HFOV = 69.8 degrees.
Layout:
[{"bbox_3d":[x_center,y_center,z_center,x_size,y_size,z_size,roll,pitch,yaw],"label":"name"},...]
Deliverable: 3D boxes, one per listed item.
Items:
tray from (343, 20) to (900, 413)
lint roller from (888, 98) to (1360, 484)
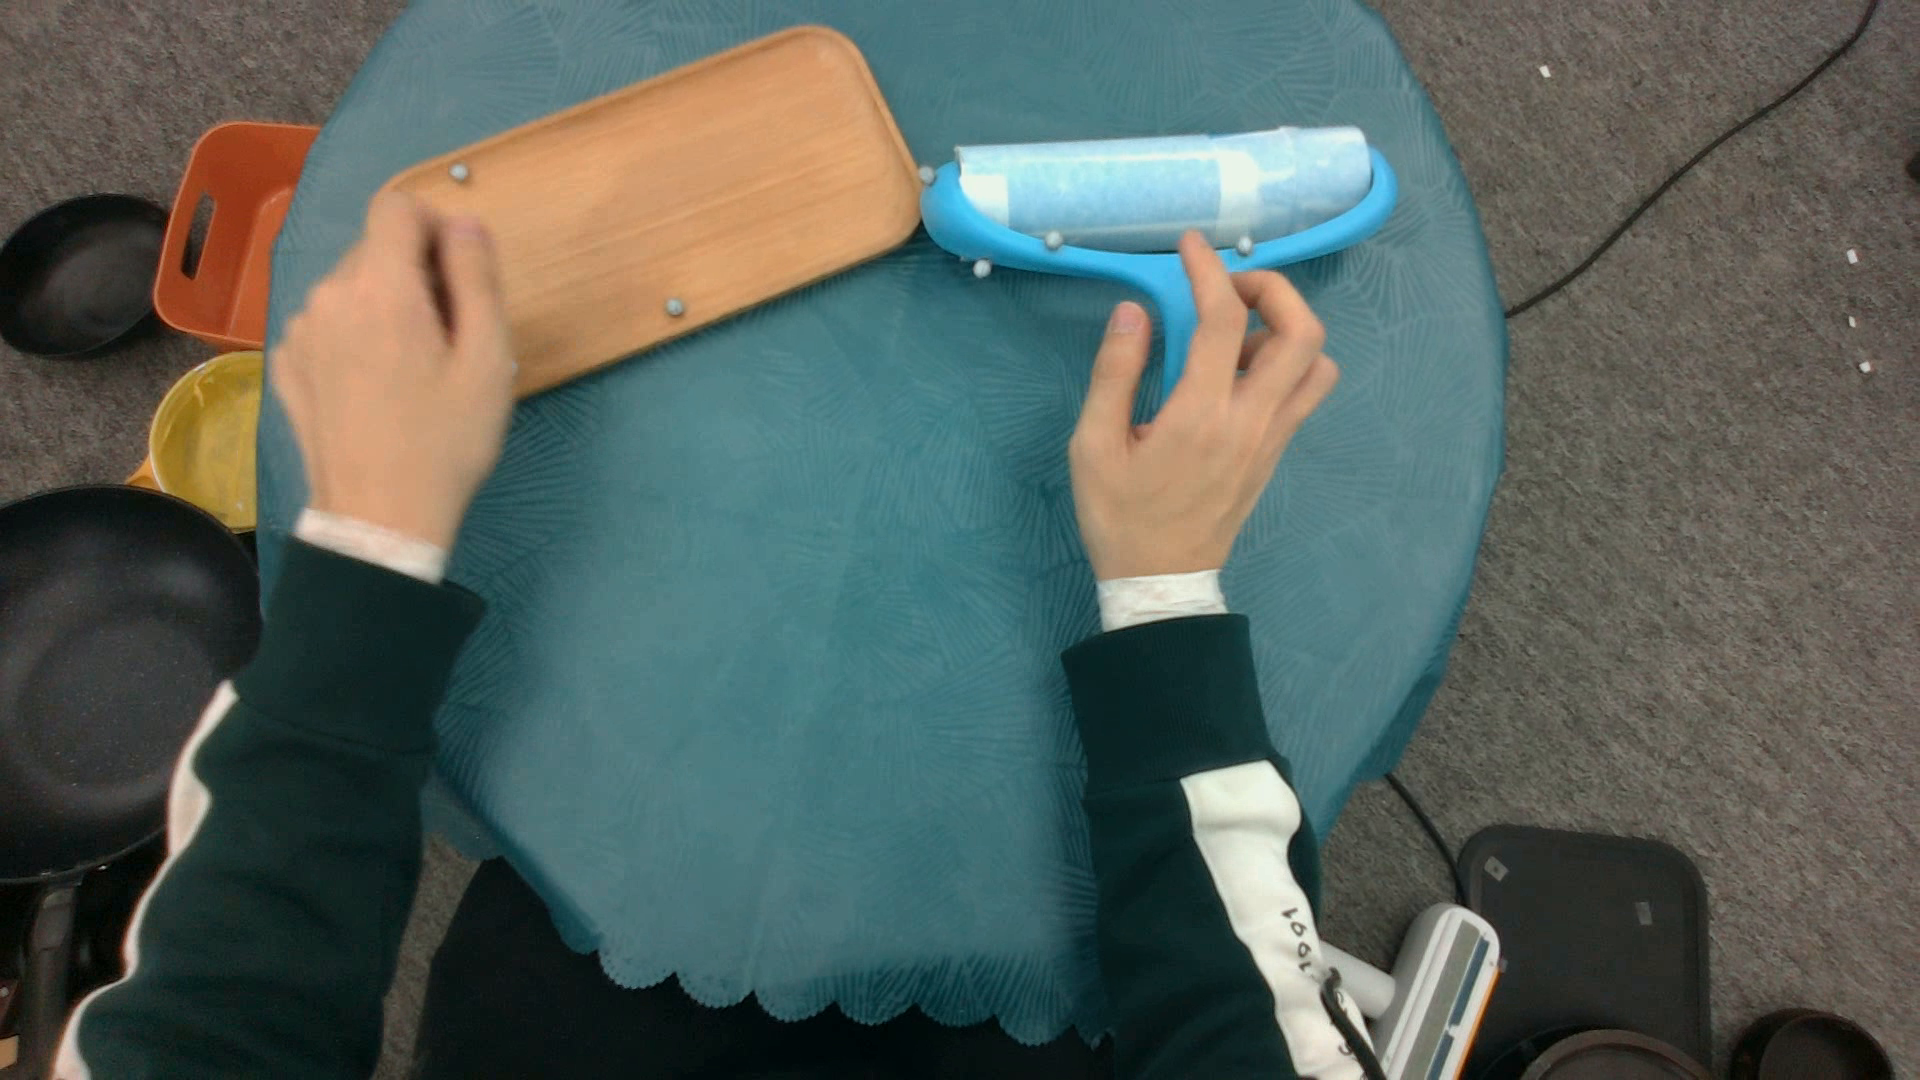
[{"bbox_3d":[-0.160,-0.158,0.662,0.251,0.023,0.130,-25,82,-10],"label":"tray"},{"bbox_3d":[0.089,-0.121,0.651,0.229,0.068,0.180,-8,76,-8],"label":"lint roller"}]
